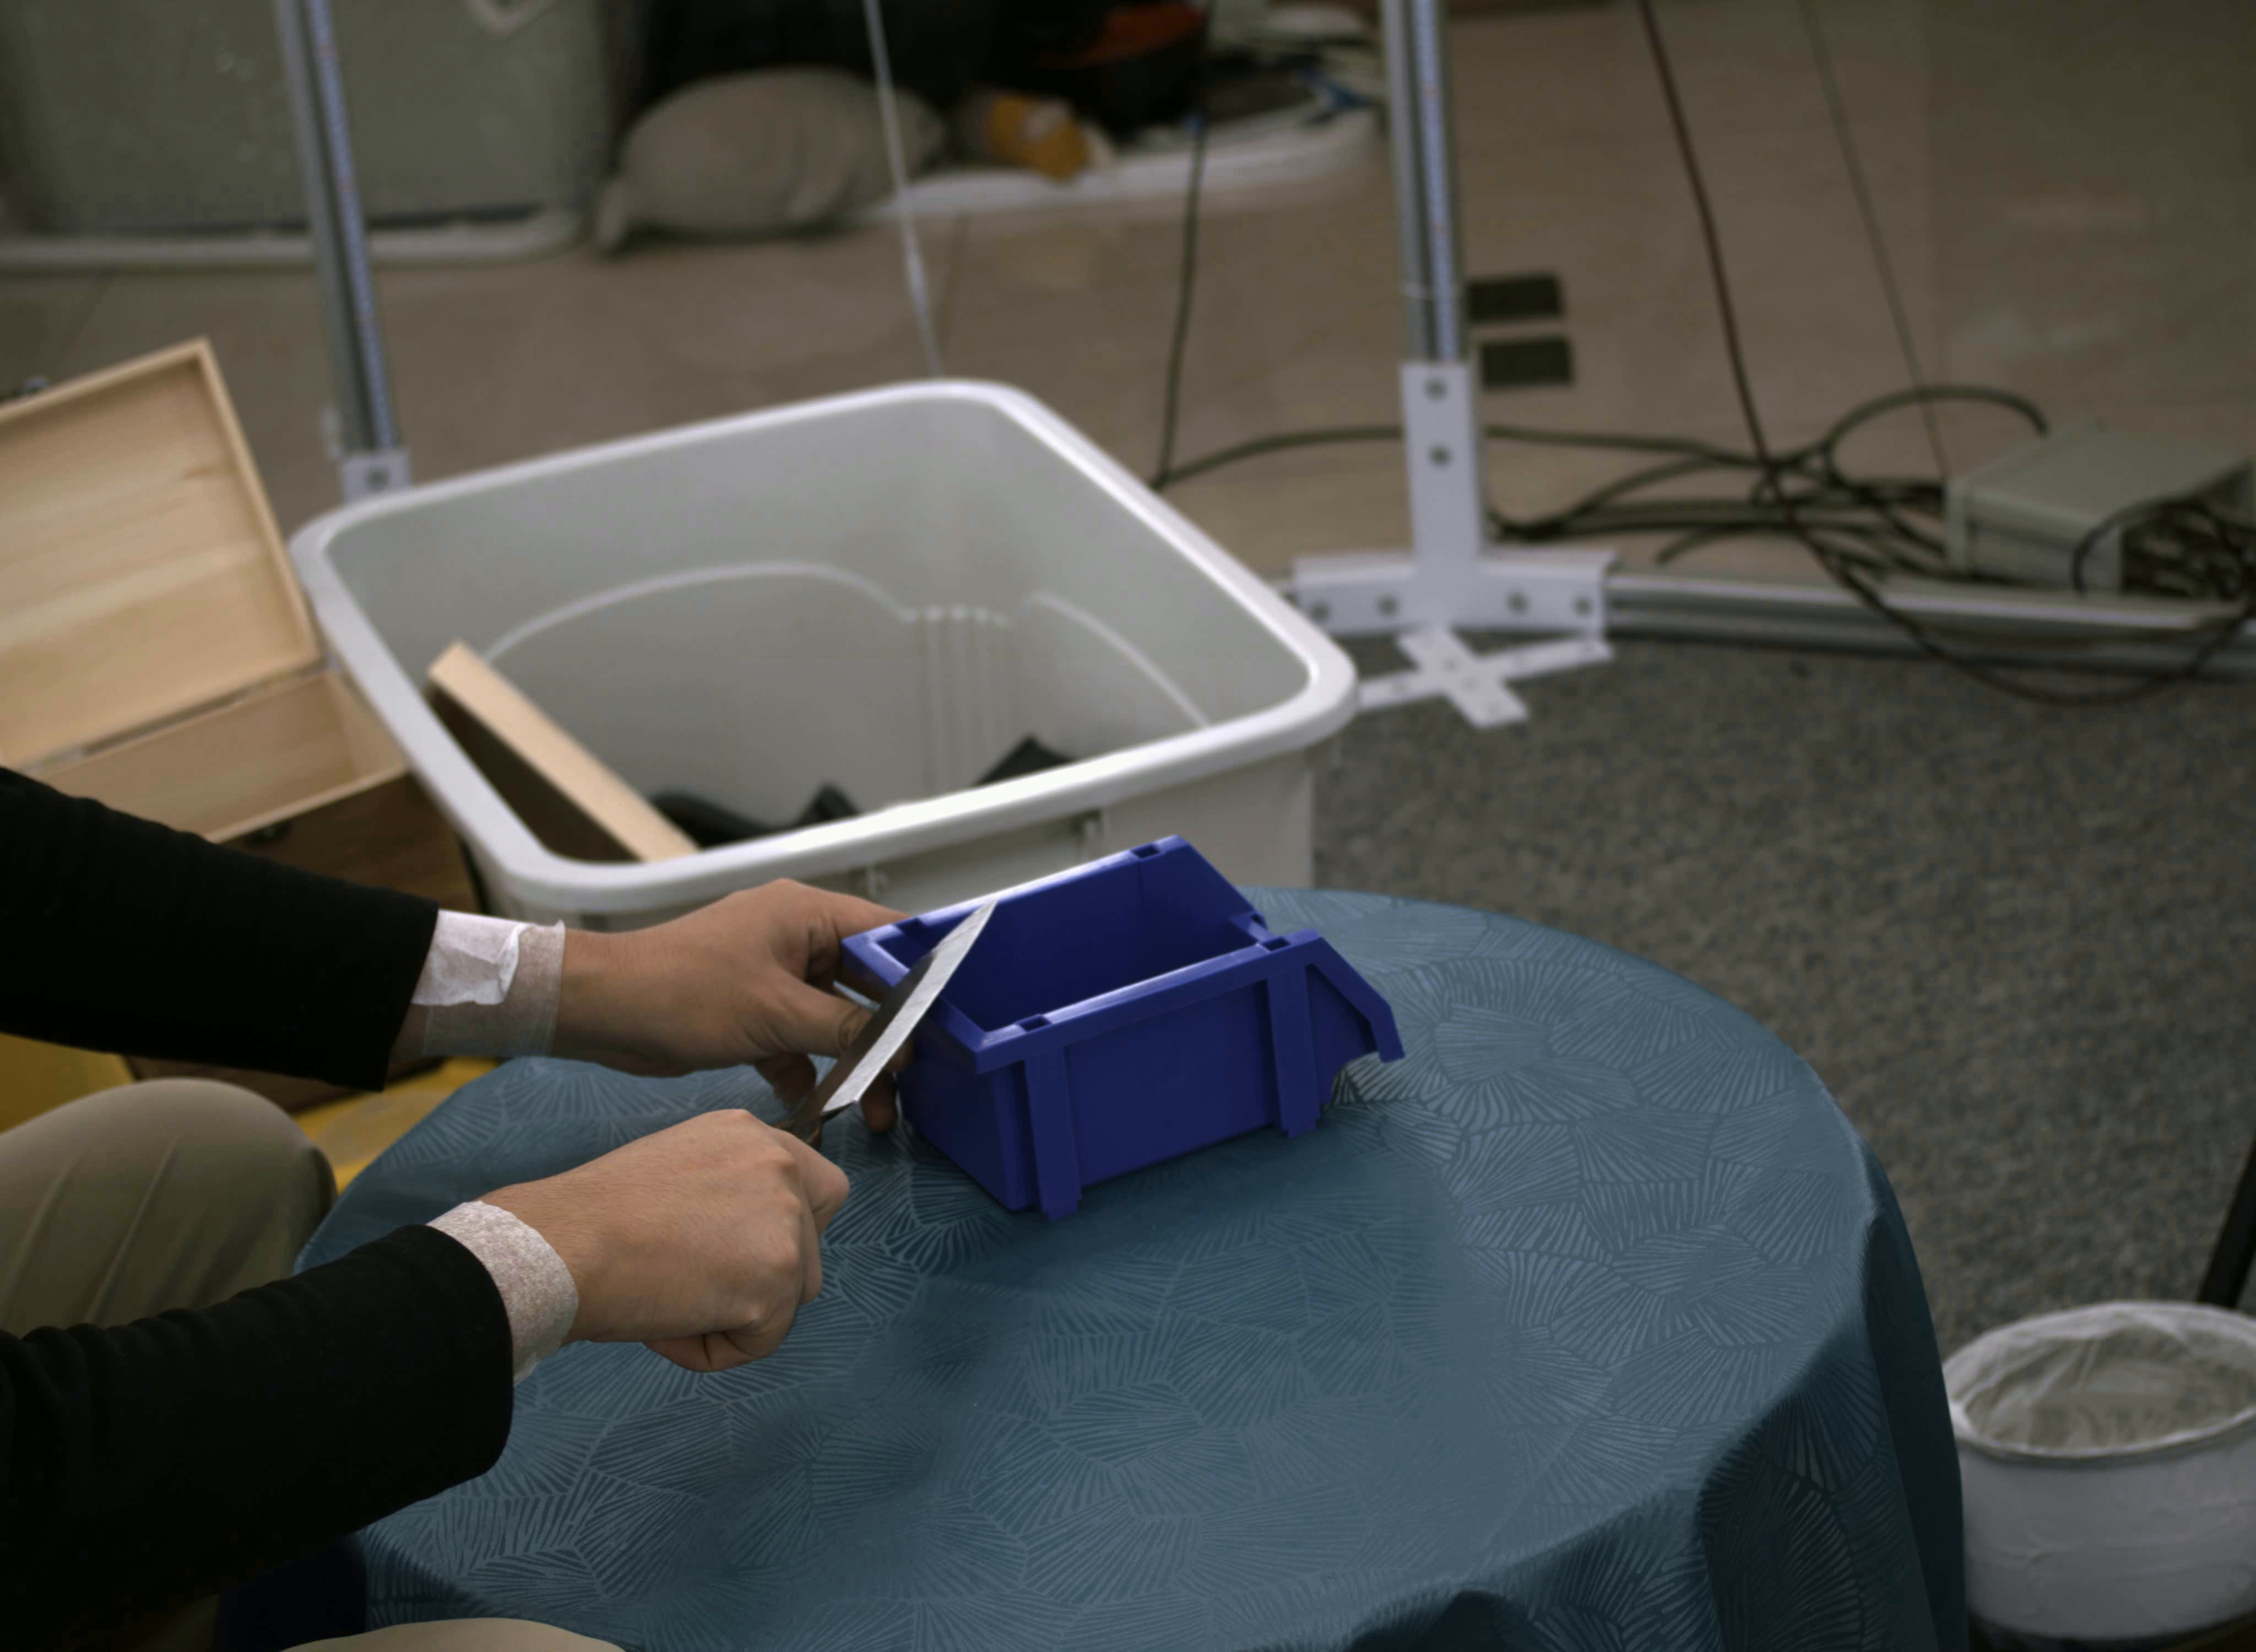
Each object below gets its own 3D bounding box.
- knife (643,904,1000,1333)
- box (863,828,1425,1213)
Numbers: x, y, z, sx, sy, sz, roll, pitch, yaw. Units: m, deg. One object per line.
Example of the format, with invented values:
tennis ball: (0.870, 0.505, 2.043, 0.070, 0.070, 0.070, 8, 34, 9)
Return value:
knife: (-0.105, 0.099, 2.054, 0.050, 0.020, 0.285, -27, 15, 35)
box: (0.006, 0.071, 2.195, 0.178, 0.083, 0.123, -19, 27, -20)
